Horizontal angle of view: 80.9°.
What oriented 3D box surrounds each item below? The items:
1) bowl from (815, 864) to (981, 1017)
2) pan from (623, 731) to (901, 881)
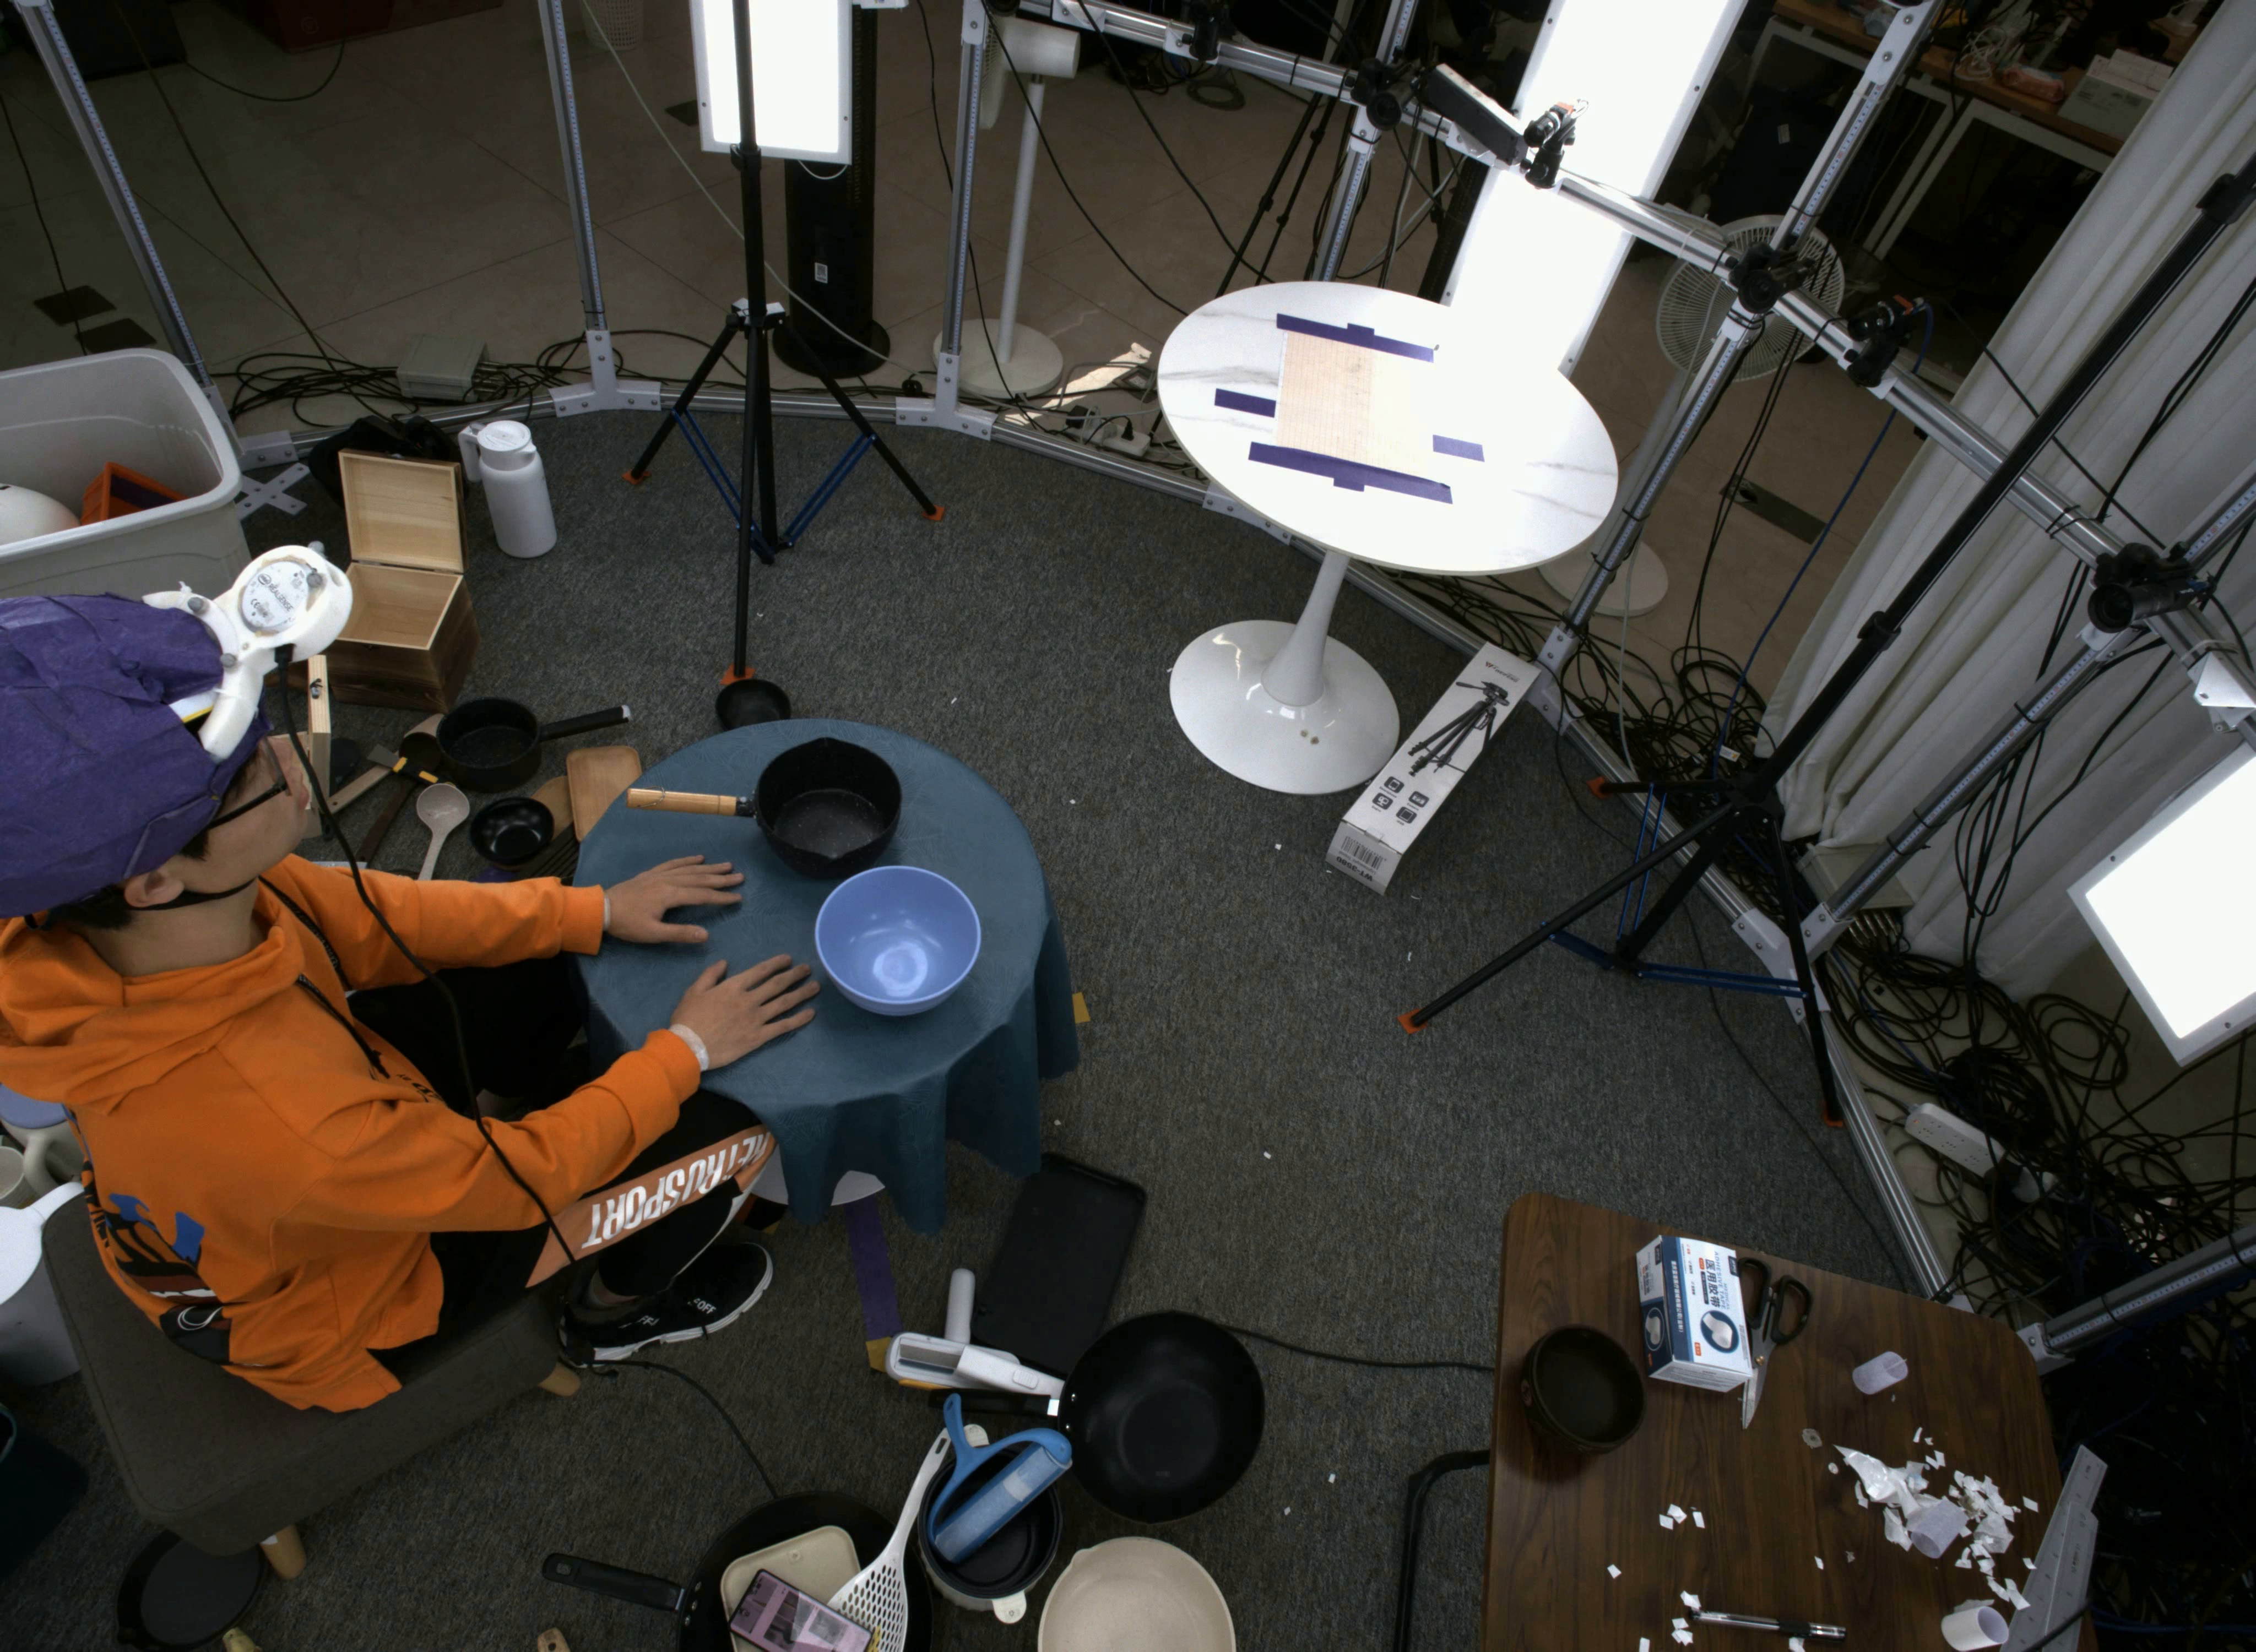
[{"bbox_3d":[-0.279,0.152,1.577,0.196,0.097,0.193,8,52,-9],"label":"bowl"},{"bbox_3d":[-0.463,-0.018,1.647,0.344,0.110,0.203,-4,56,-19],"label":"pan"}]
